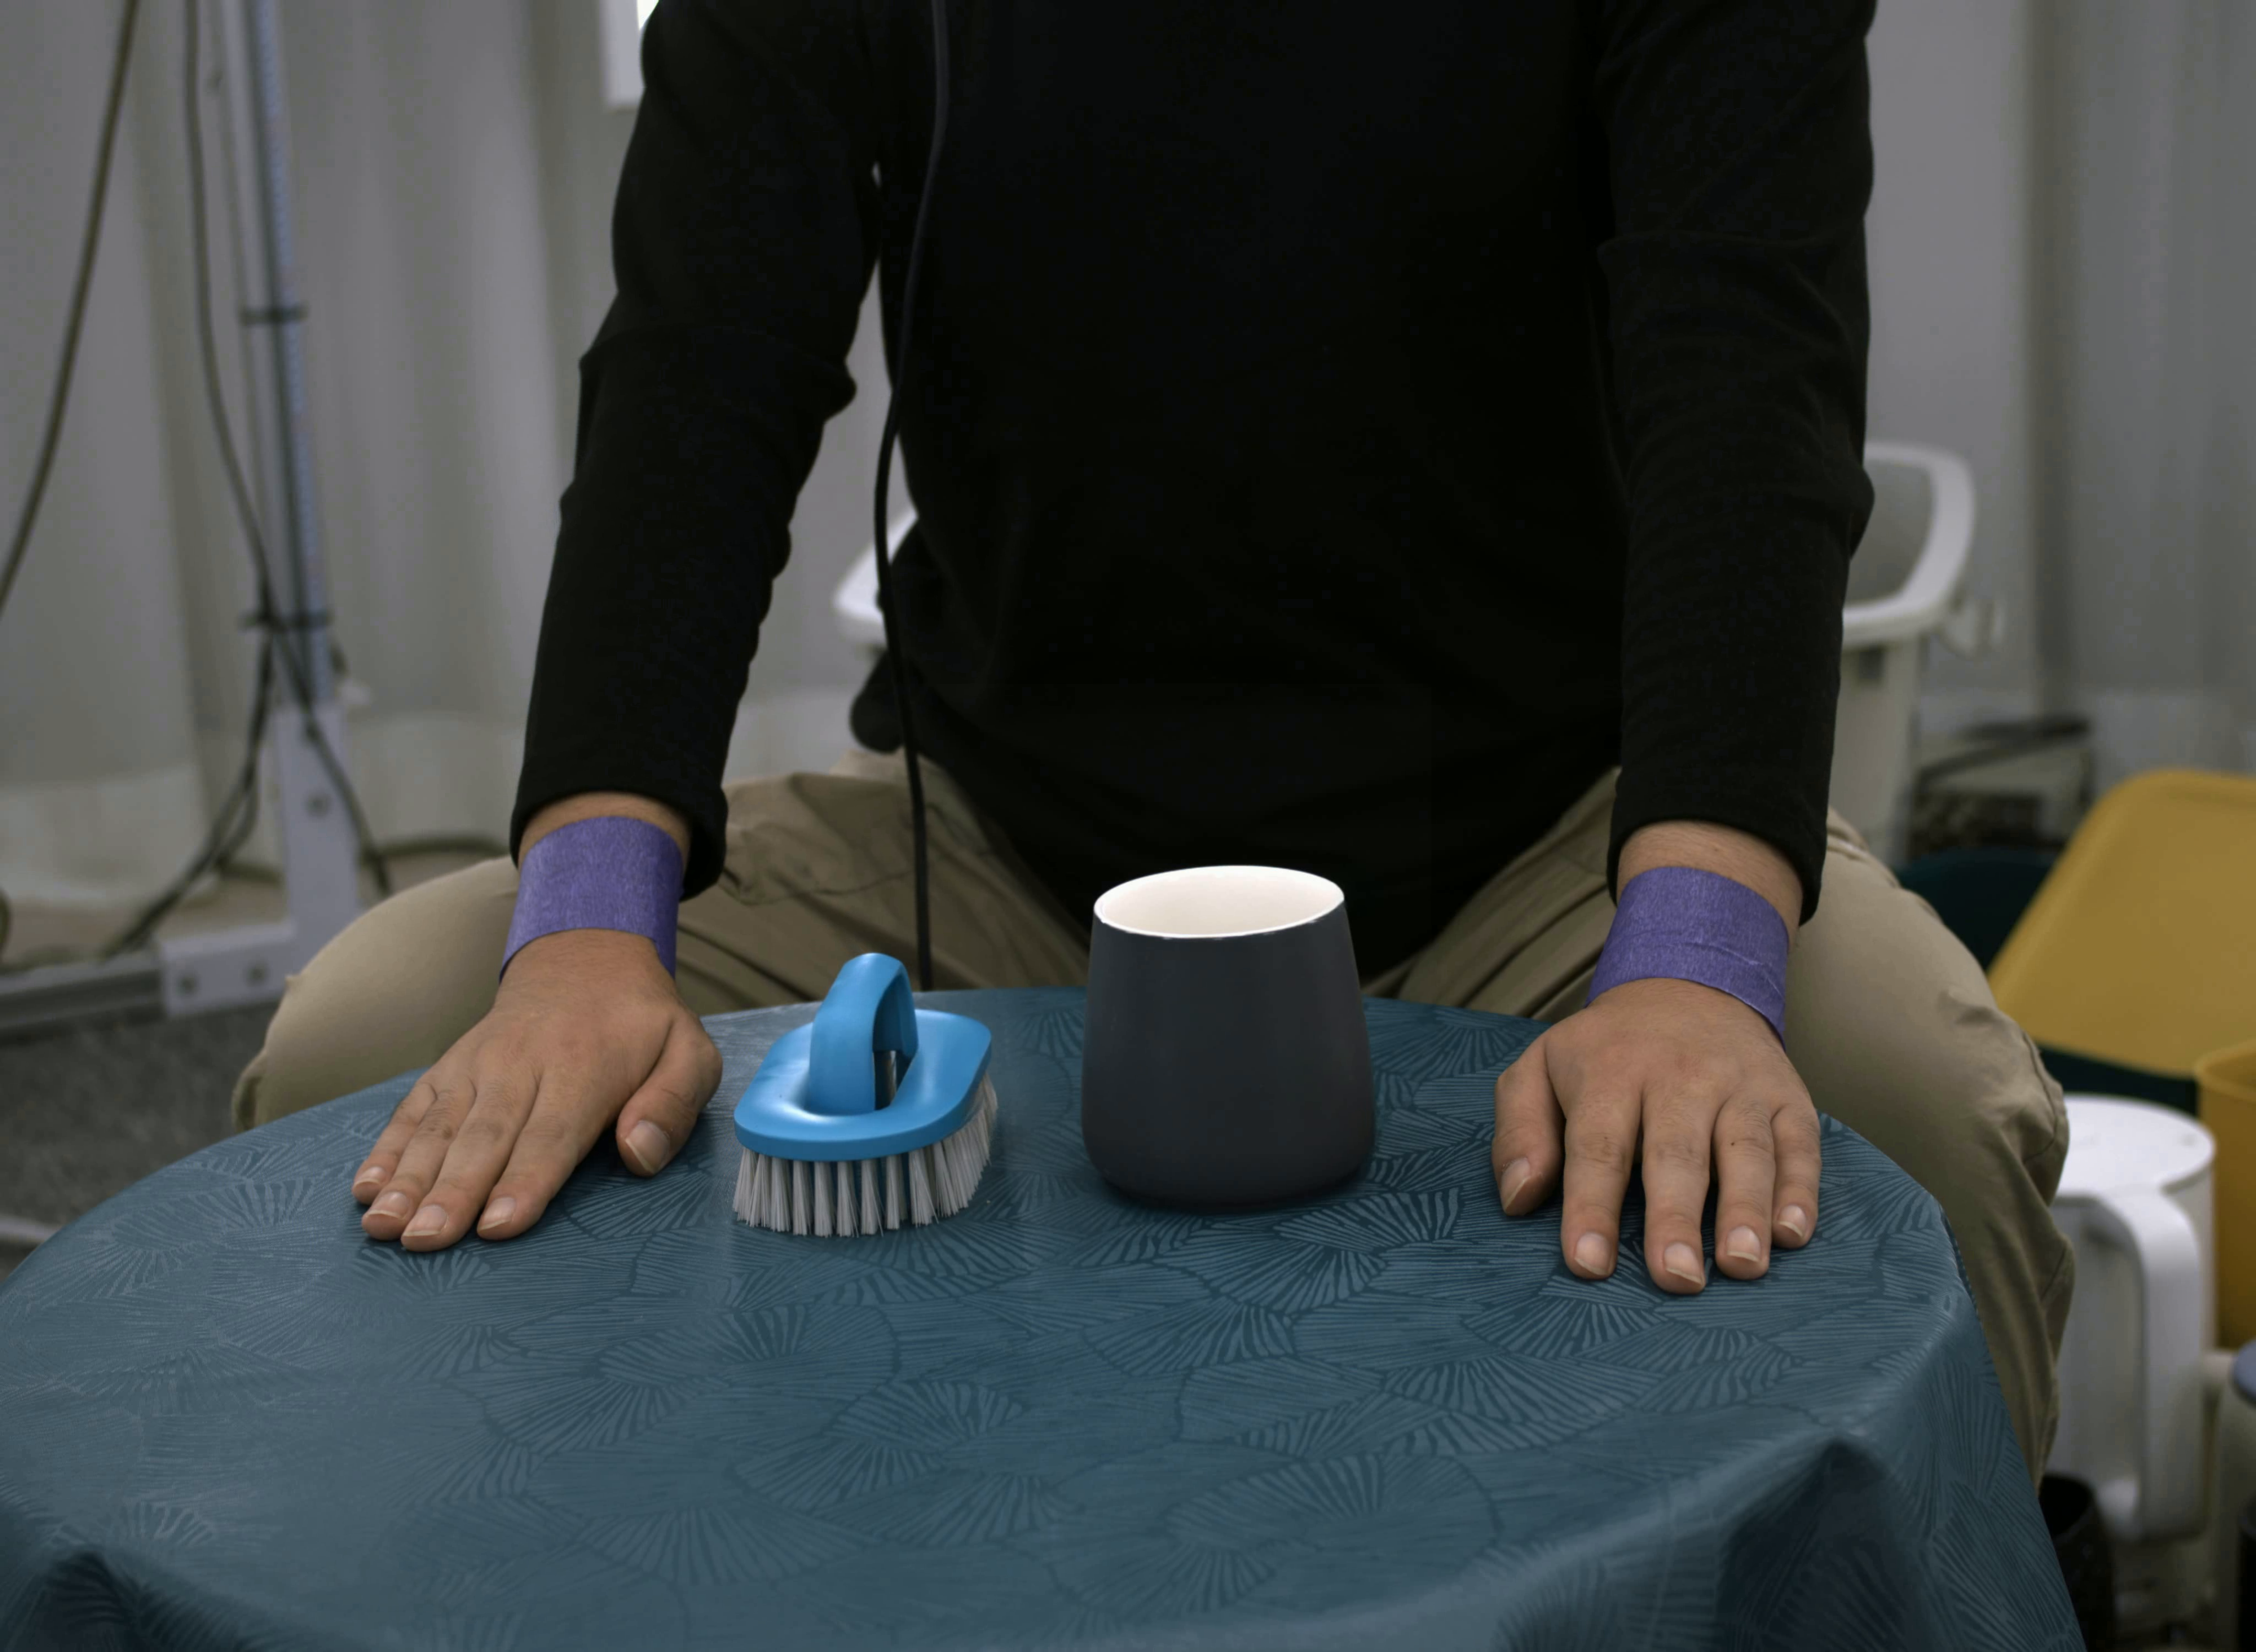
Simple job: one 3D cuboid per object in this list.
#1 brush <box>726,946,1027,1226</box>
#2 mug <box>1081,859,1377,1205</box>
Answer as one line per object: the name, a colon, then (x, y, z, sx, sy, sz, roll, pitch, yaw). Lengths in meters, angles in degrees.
brush: (-0.081, 0.077, 1.746, 0.084, 0.063, 0.142, -5, 13, 10)
mug: (0.034, 0.060, 1.730, 0.093, 0.089, 0.124, 1, 17, 13)
